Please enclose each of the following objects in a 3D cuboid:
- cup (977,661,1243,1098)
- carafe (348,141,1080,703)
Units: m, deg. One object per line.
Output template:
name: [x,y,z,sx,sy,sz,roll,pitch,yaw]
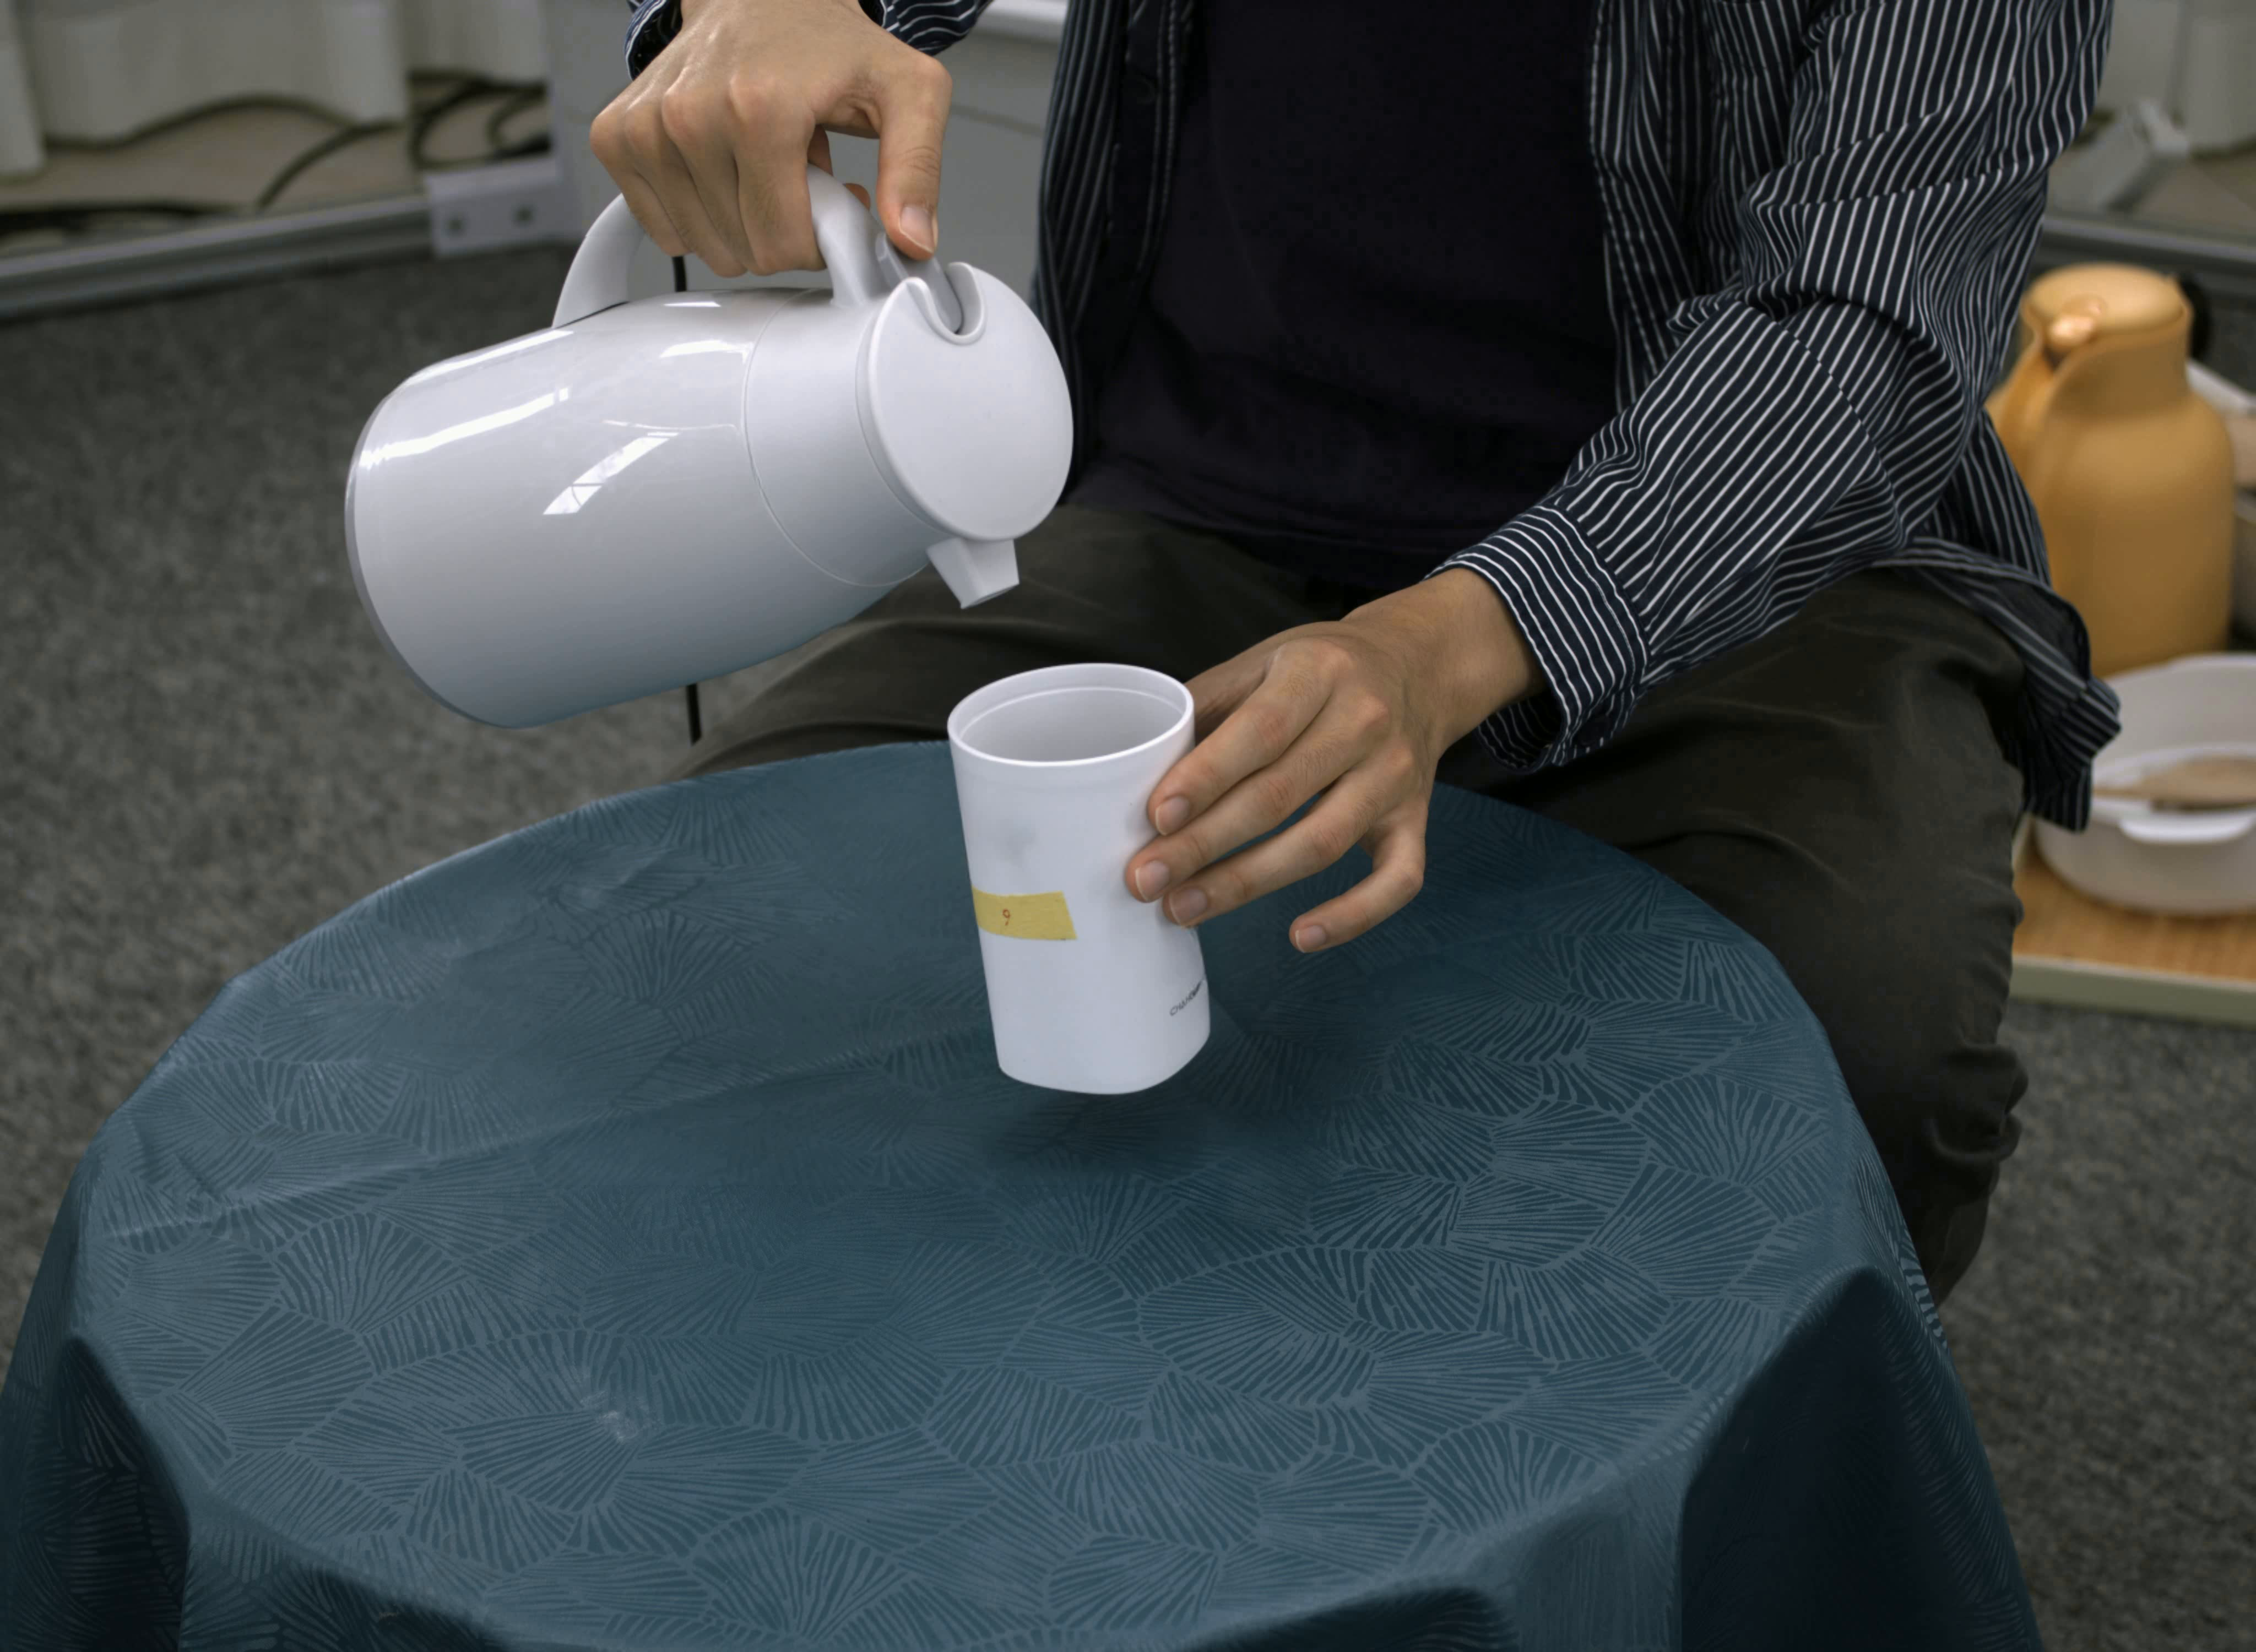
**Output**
cup: [-0.003,0.019,1.849,0.081,0.124,0.083,-5,23,2]
carafe: [-0.138,-0.138,1.868,0.245,0.167,0.134,-10,14,43]
